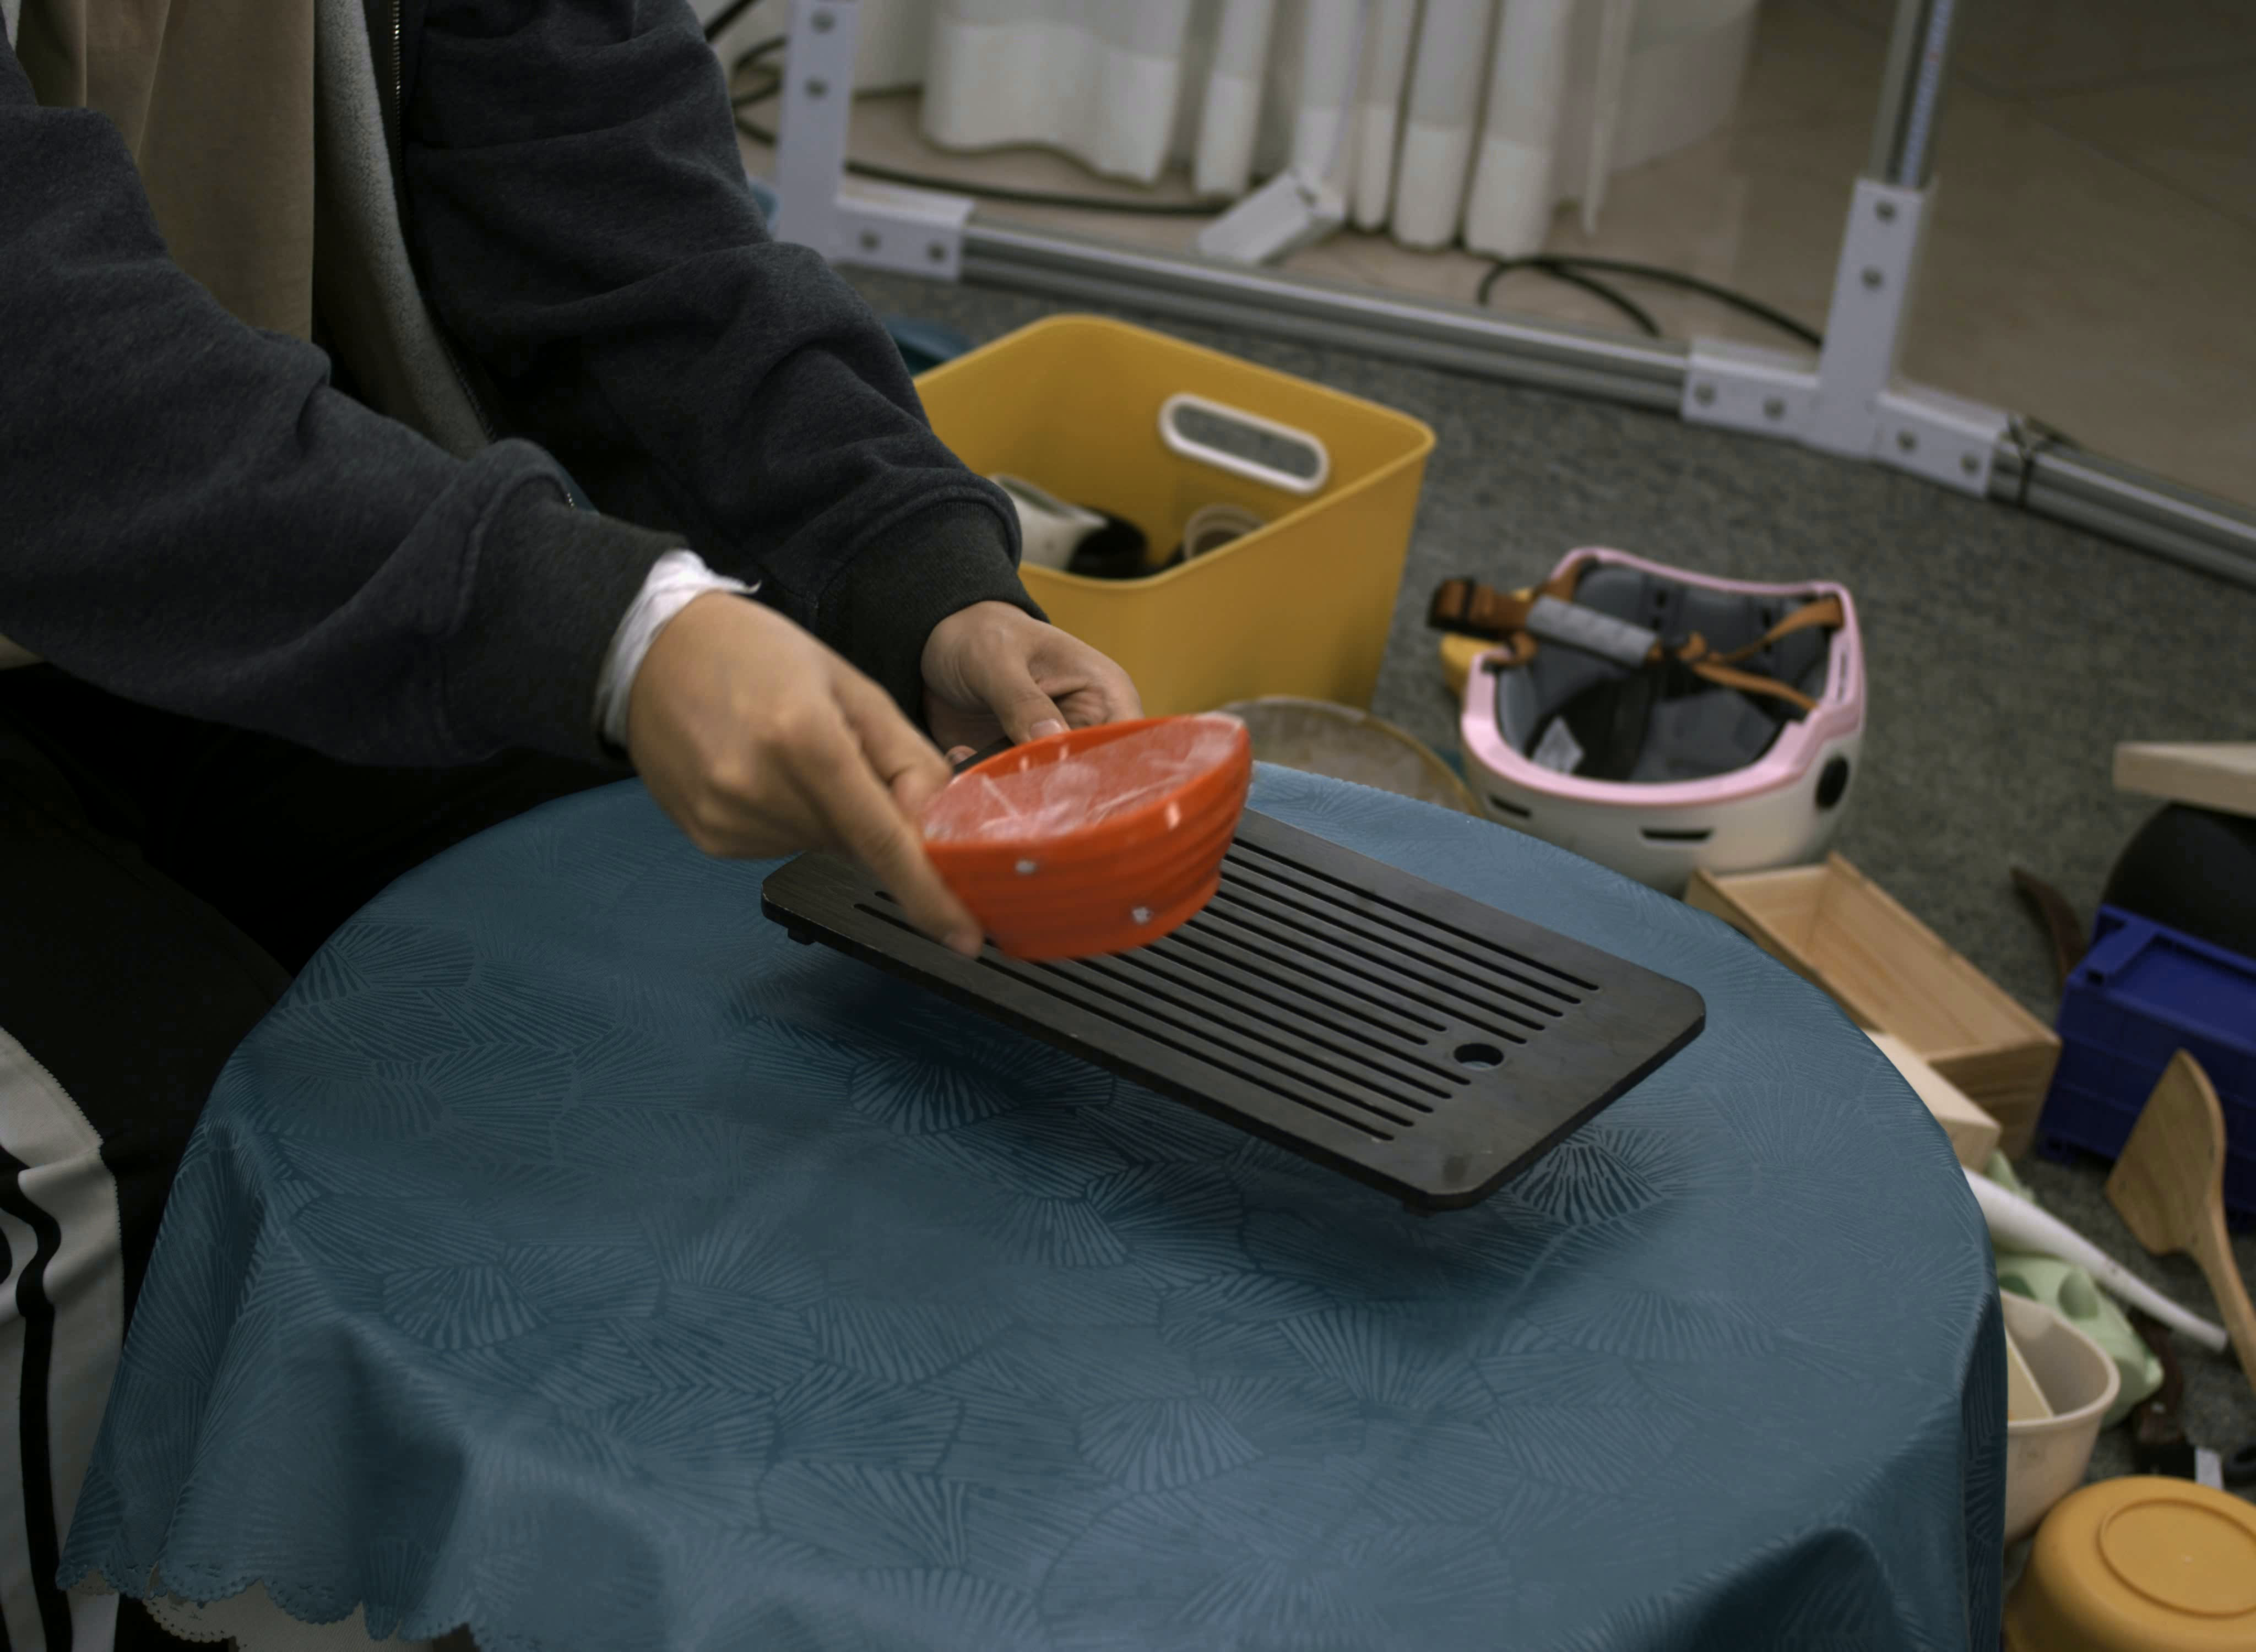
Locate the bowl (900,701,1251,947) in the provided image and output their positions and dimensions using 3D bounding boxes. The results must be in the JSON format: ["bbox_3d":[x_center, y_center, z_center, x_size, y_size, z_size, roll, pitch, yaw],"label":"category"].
[{"bbox_3d":[-0.011,0.003,1.721,0.118,0.051,0.119,-15,15,4],"label":"bowl"}]

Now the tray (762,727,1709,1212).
[{"bbox_3d":[0.035,0.047,1.871,0.308,0.018,0.169,22,35,31],"label":"tray"}]
